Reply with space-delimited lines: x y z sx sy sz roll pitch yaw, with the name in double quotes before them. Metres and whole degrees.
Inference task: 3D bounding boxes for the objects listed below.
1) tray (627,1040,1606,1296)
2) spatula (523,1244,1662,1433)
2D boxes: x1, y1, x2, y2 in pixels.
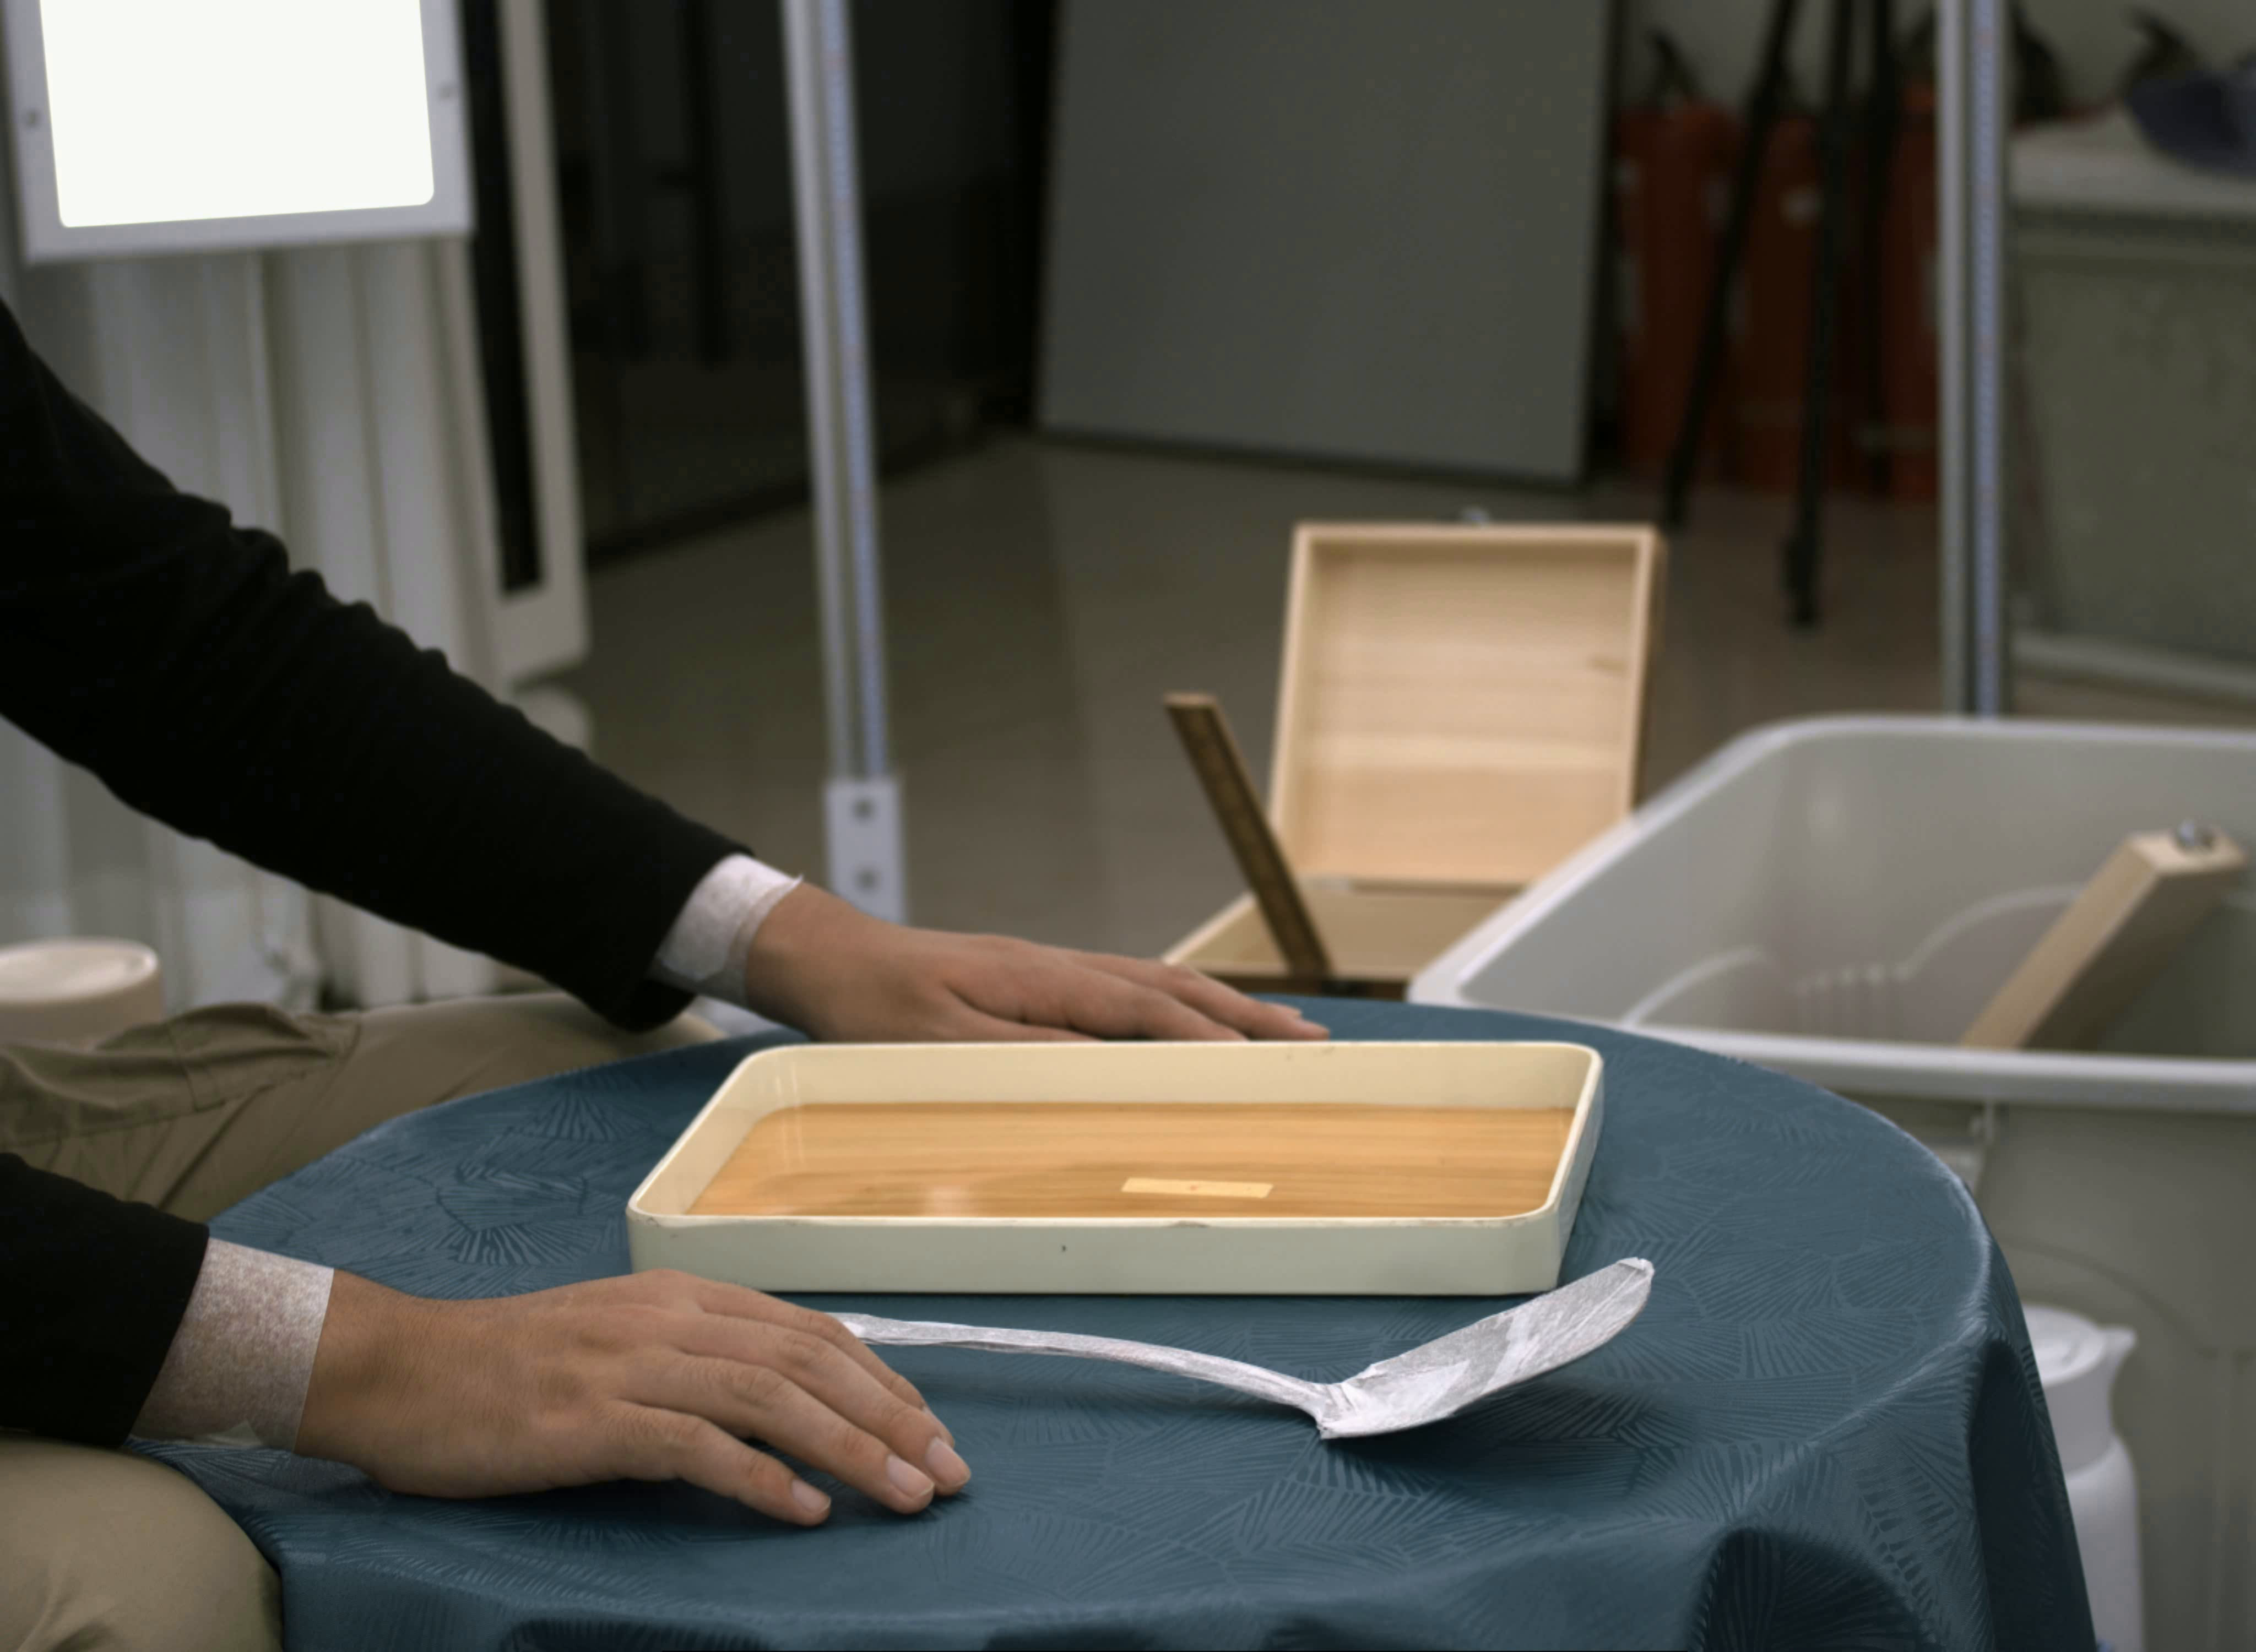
"tray" 0.001 0.111 1.755 0.298 0.028 0.190 -1 14 13
"spatula" -0.021 0.148 1.584 0.364 0.045 0.098 1 15 21
